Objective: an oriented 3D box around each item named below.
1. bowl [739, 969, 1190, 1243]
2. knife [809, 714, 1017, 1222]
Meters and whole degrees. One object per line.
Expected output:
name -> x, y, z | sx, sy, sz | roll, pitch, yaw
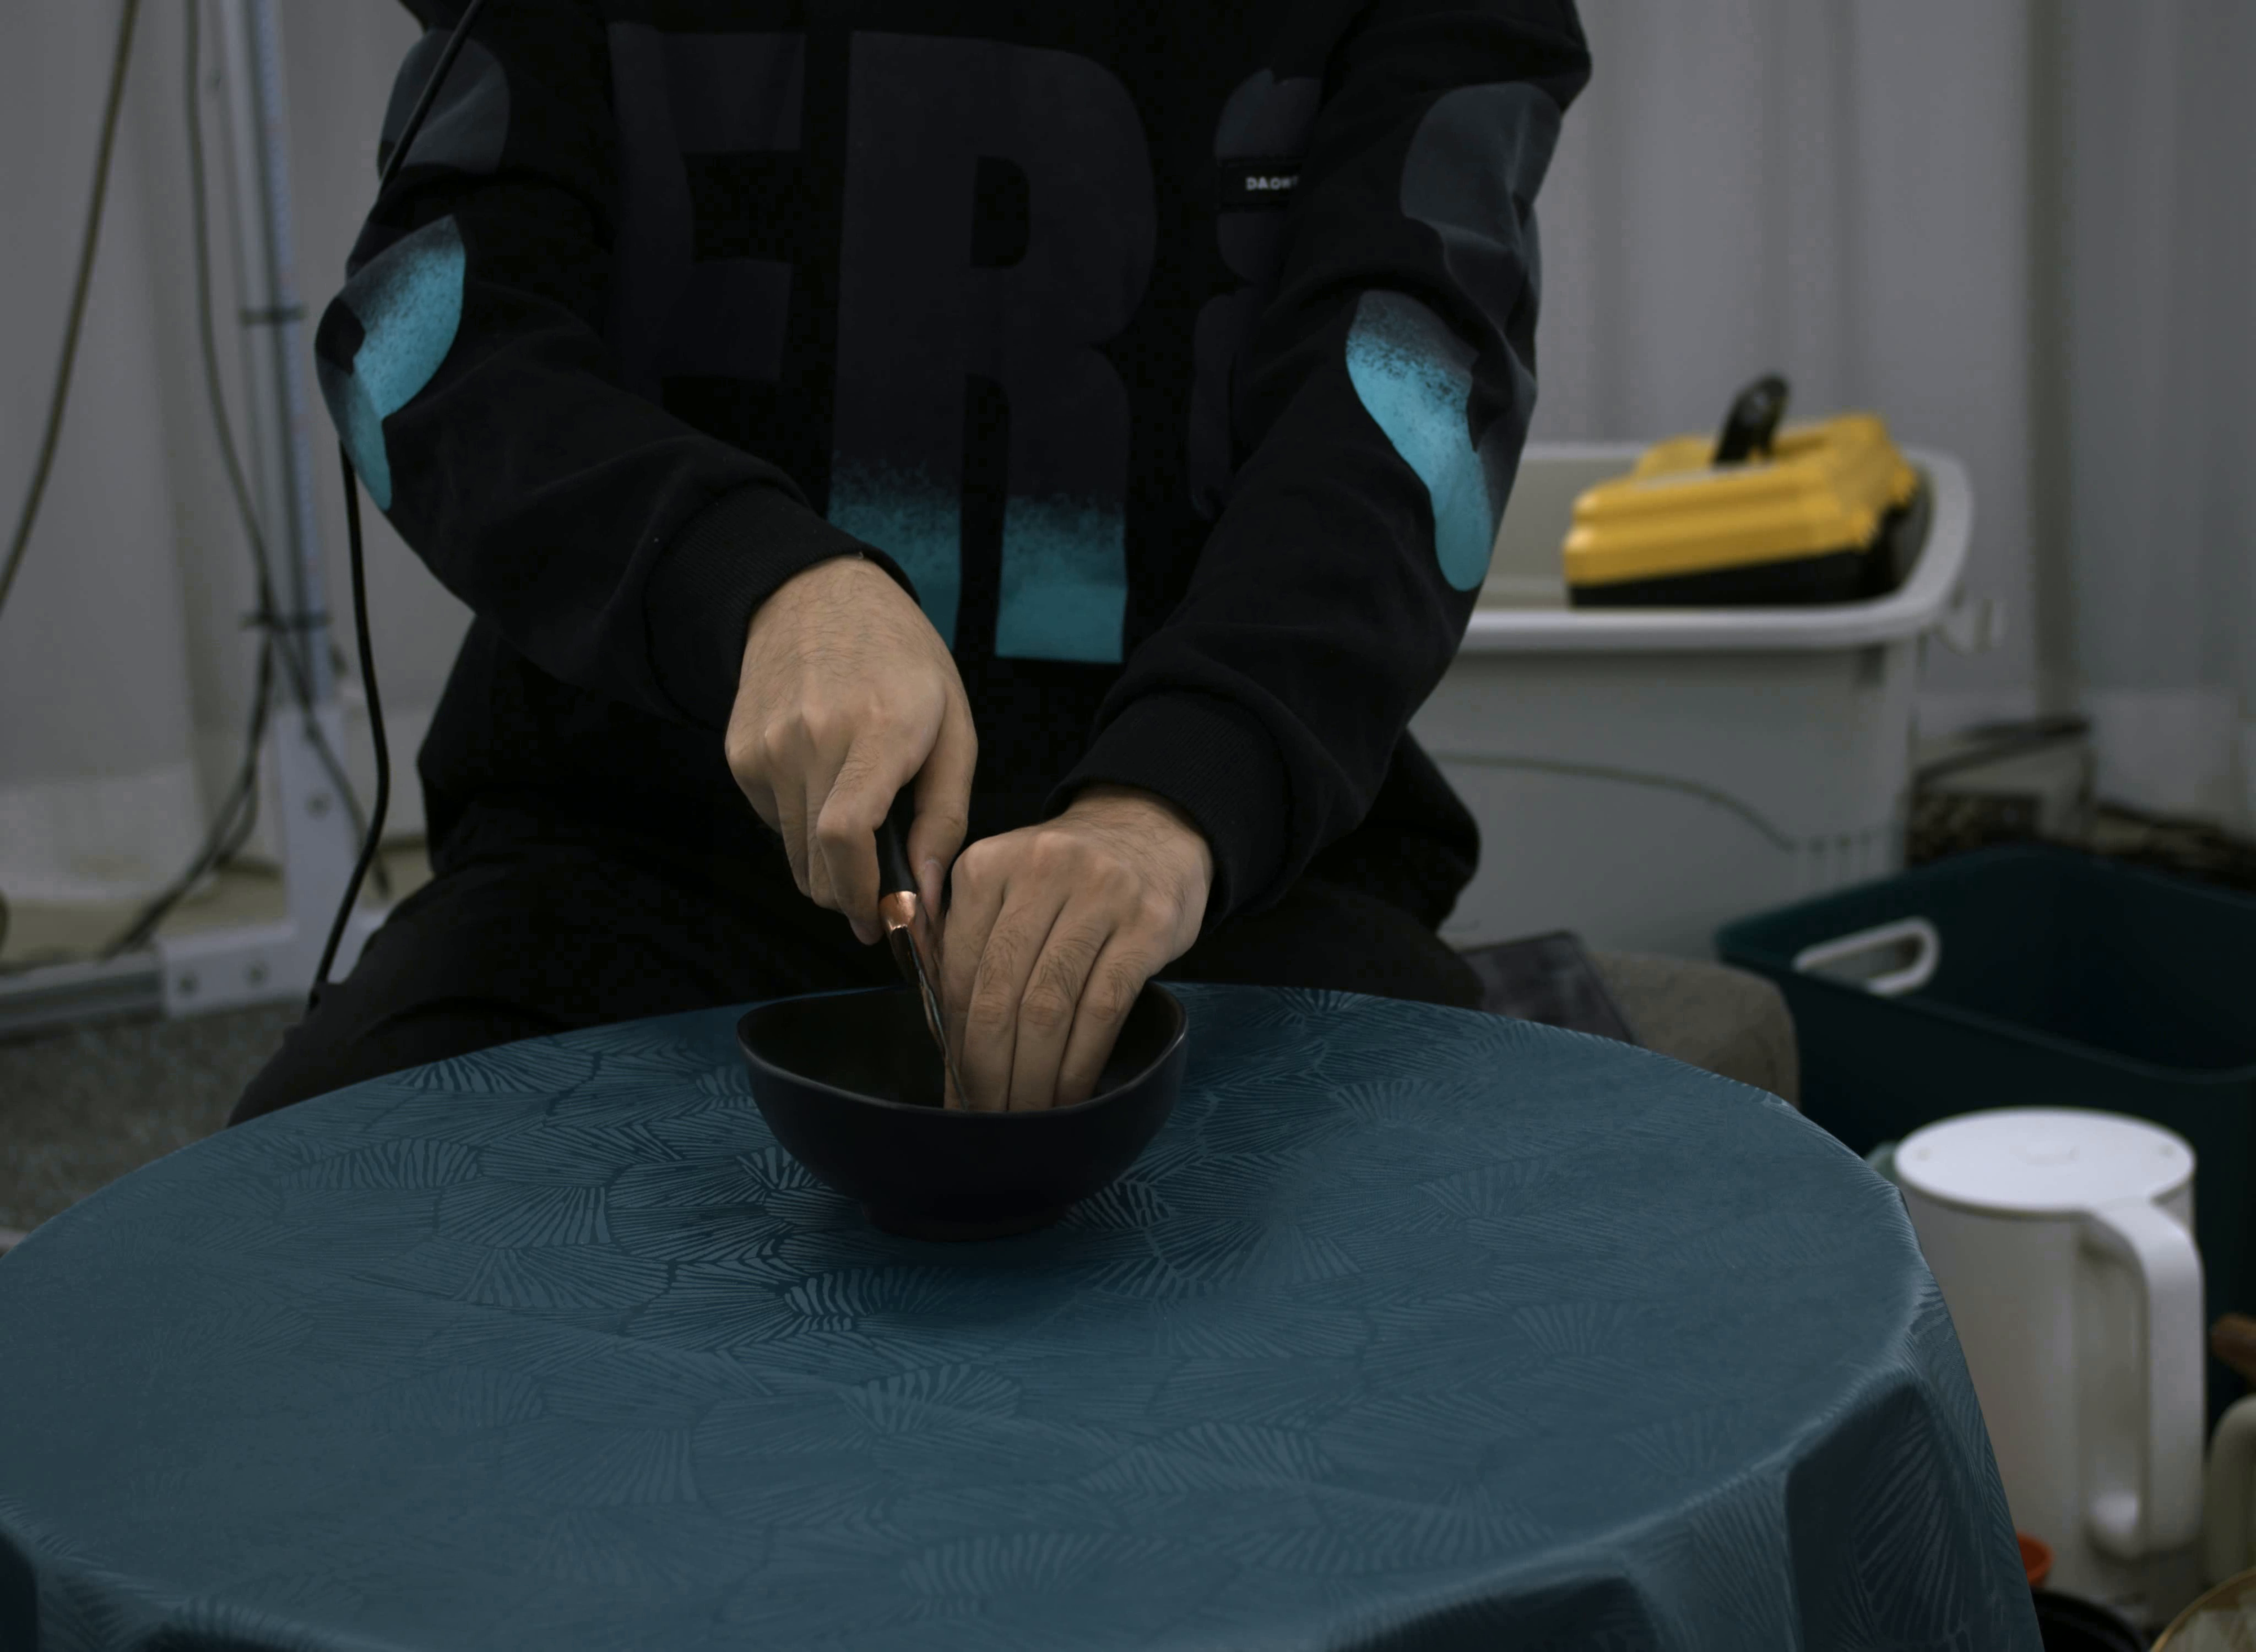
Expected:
bowl -> -0.051, 0.089, 1.695 | 0.137, 0.066, 0.171 | -8, 14, -19
knife -> -0.068, 0.042, 1.736 | 0.017, 0.026, 0.229 | -21, 45, -3
